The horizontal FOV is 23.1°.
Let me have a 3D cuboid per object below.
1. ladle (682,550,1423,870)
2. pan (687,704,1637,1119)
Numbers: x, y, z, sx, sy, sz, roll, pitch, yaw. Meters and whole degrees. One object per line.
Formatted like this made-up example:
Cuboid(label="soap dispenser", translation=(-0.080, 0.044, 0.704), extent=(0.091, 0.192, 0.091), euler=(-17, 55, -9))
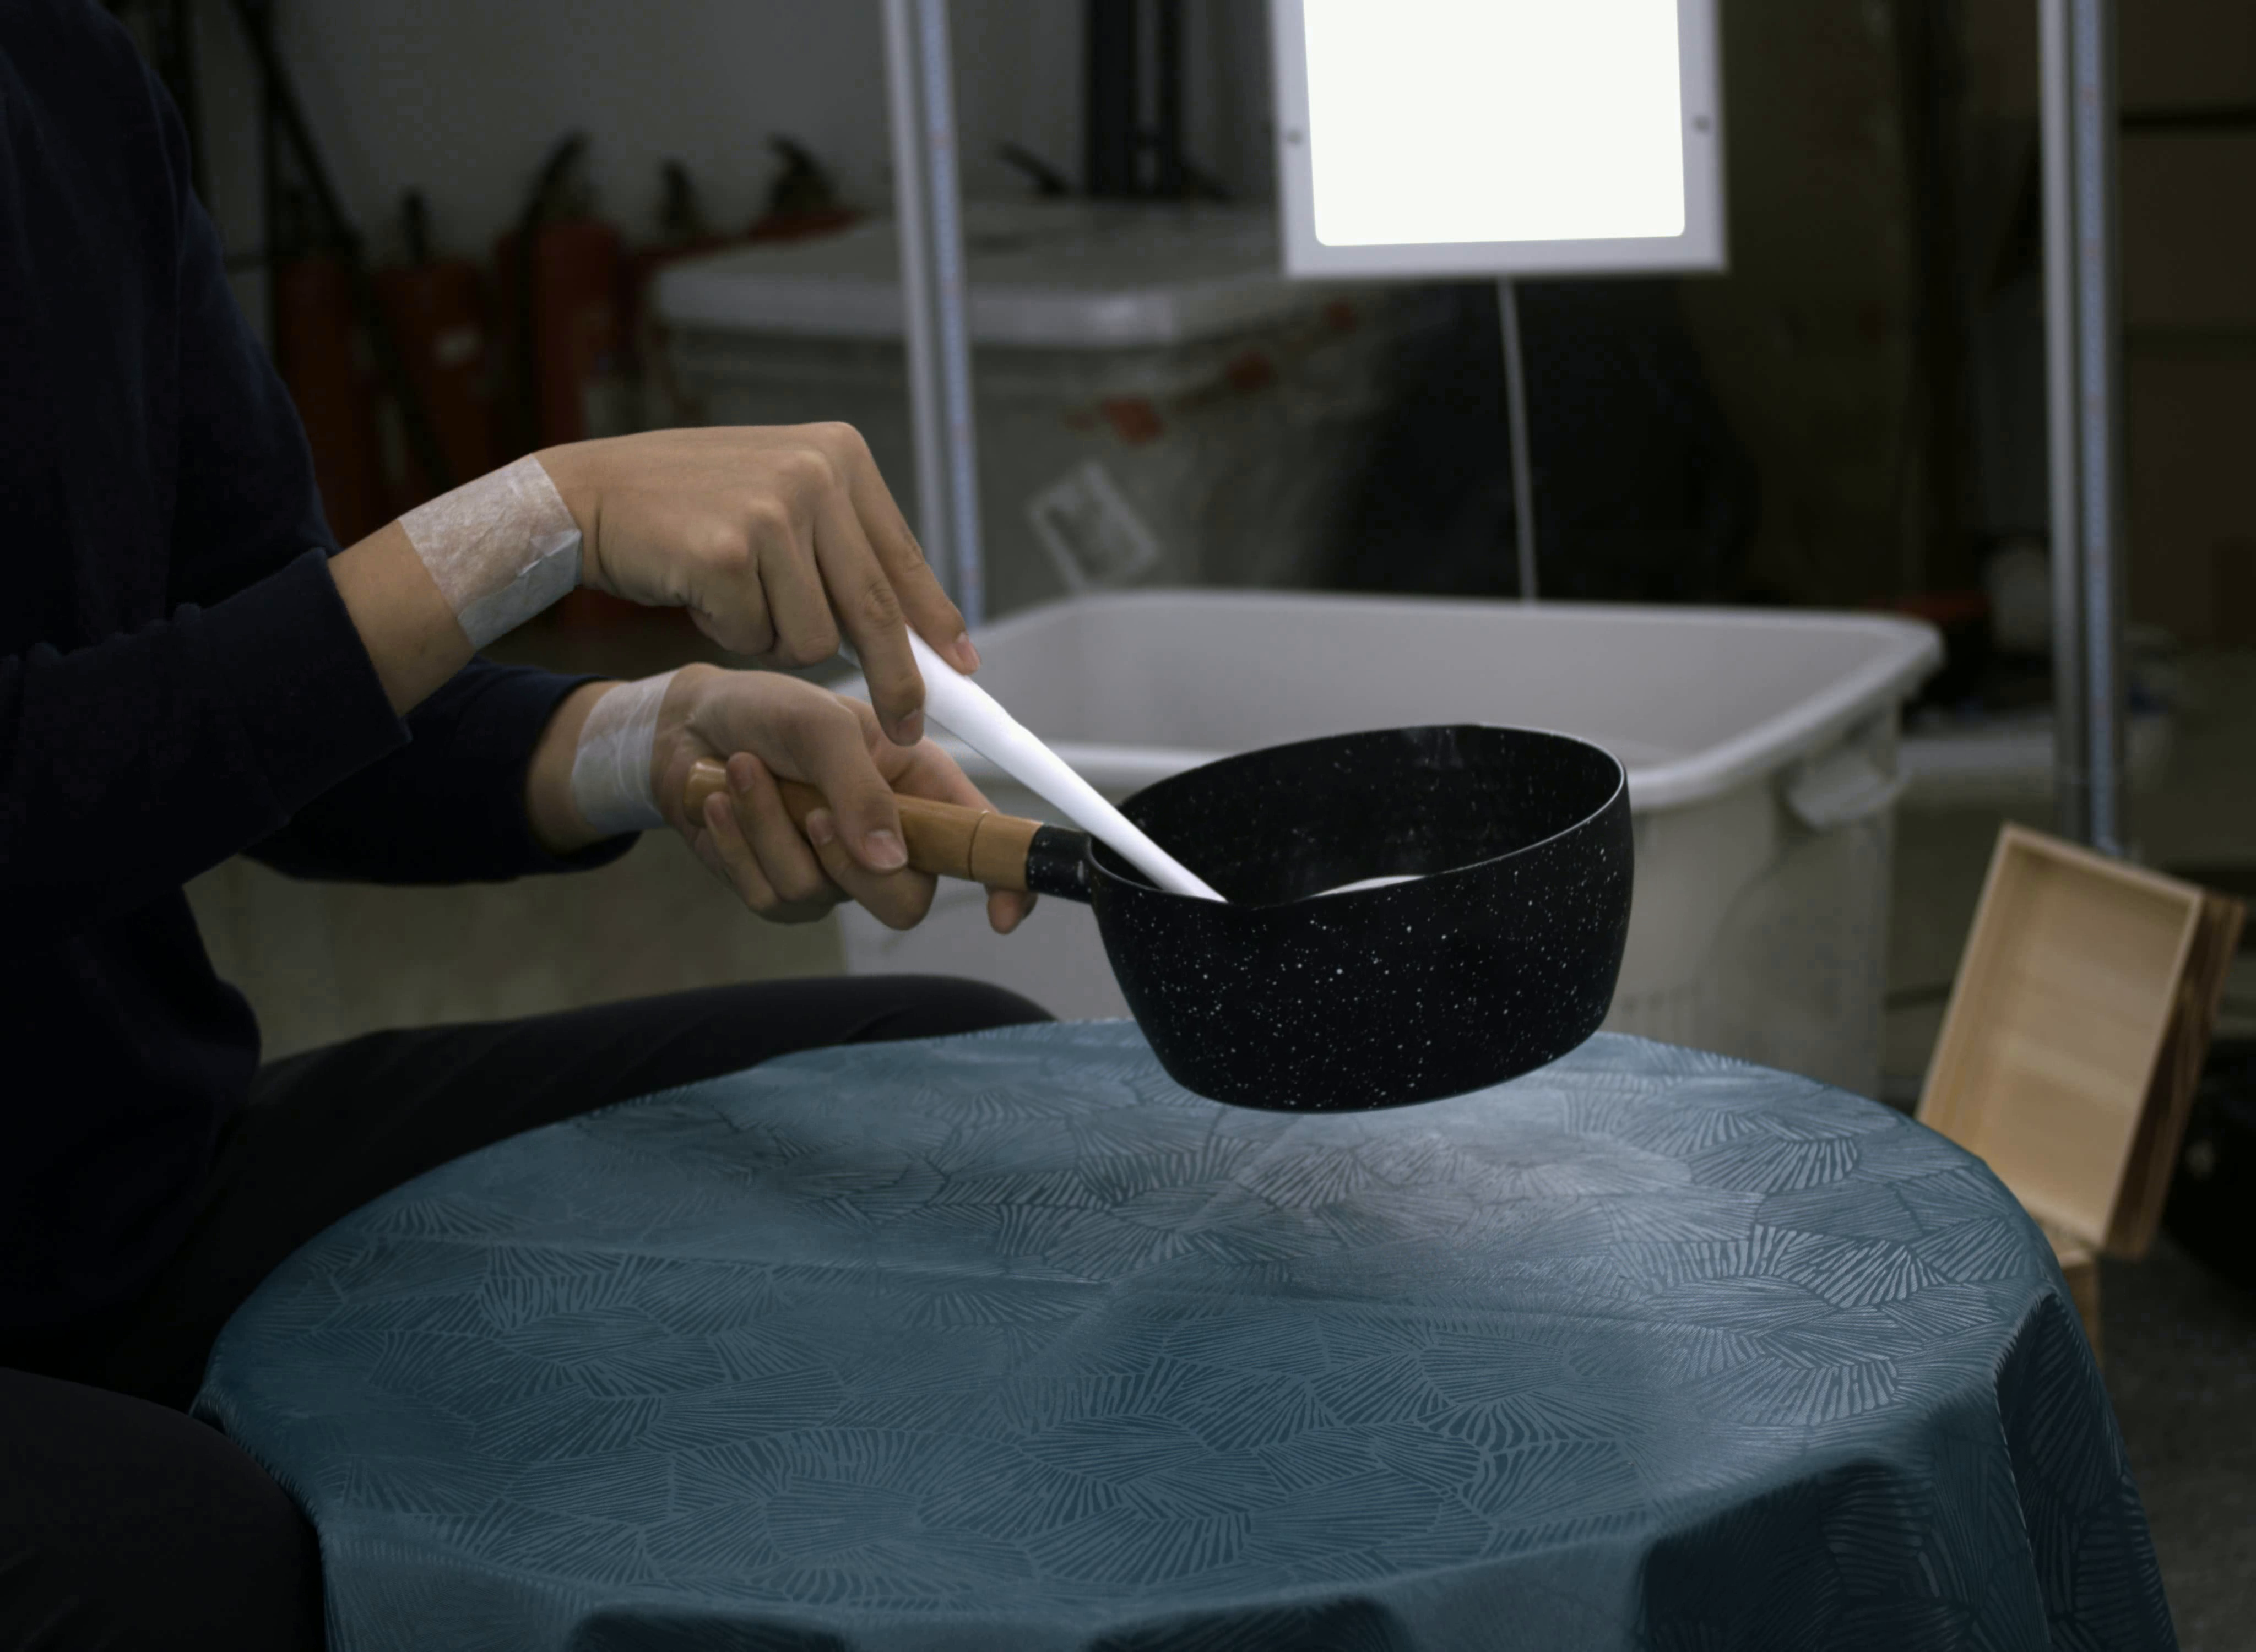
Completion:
Cuboid(label="ladle", translation=(-0.010, -0.015, 1.840), extent=(0.291, 0.071, 0.089), euler=(32, 37, -5))
Cuboid(label="pan", translation=(0.008, 0.023, 1.881), extent=(0.348, 0.108, 0.203), euler=(-1, 19, 24))
